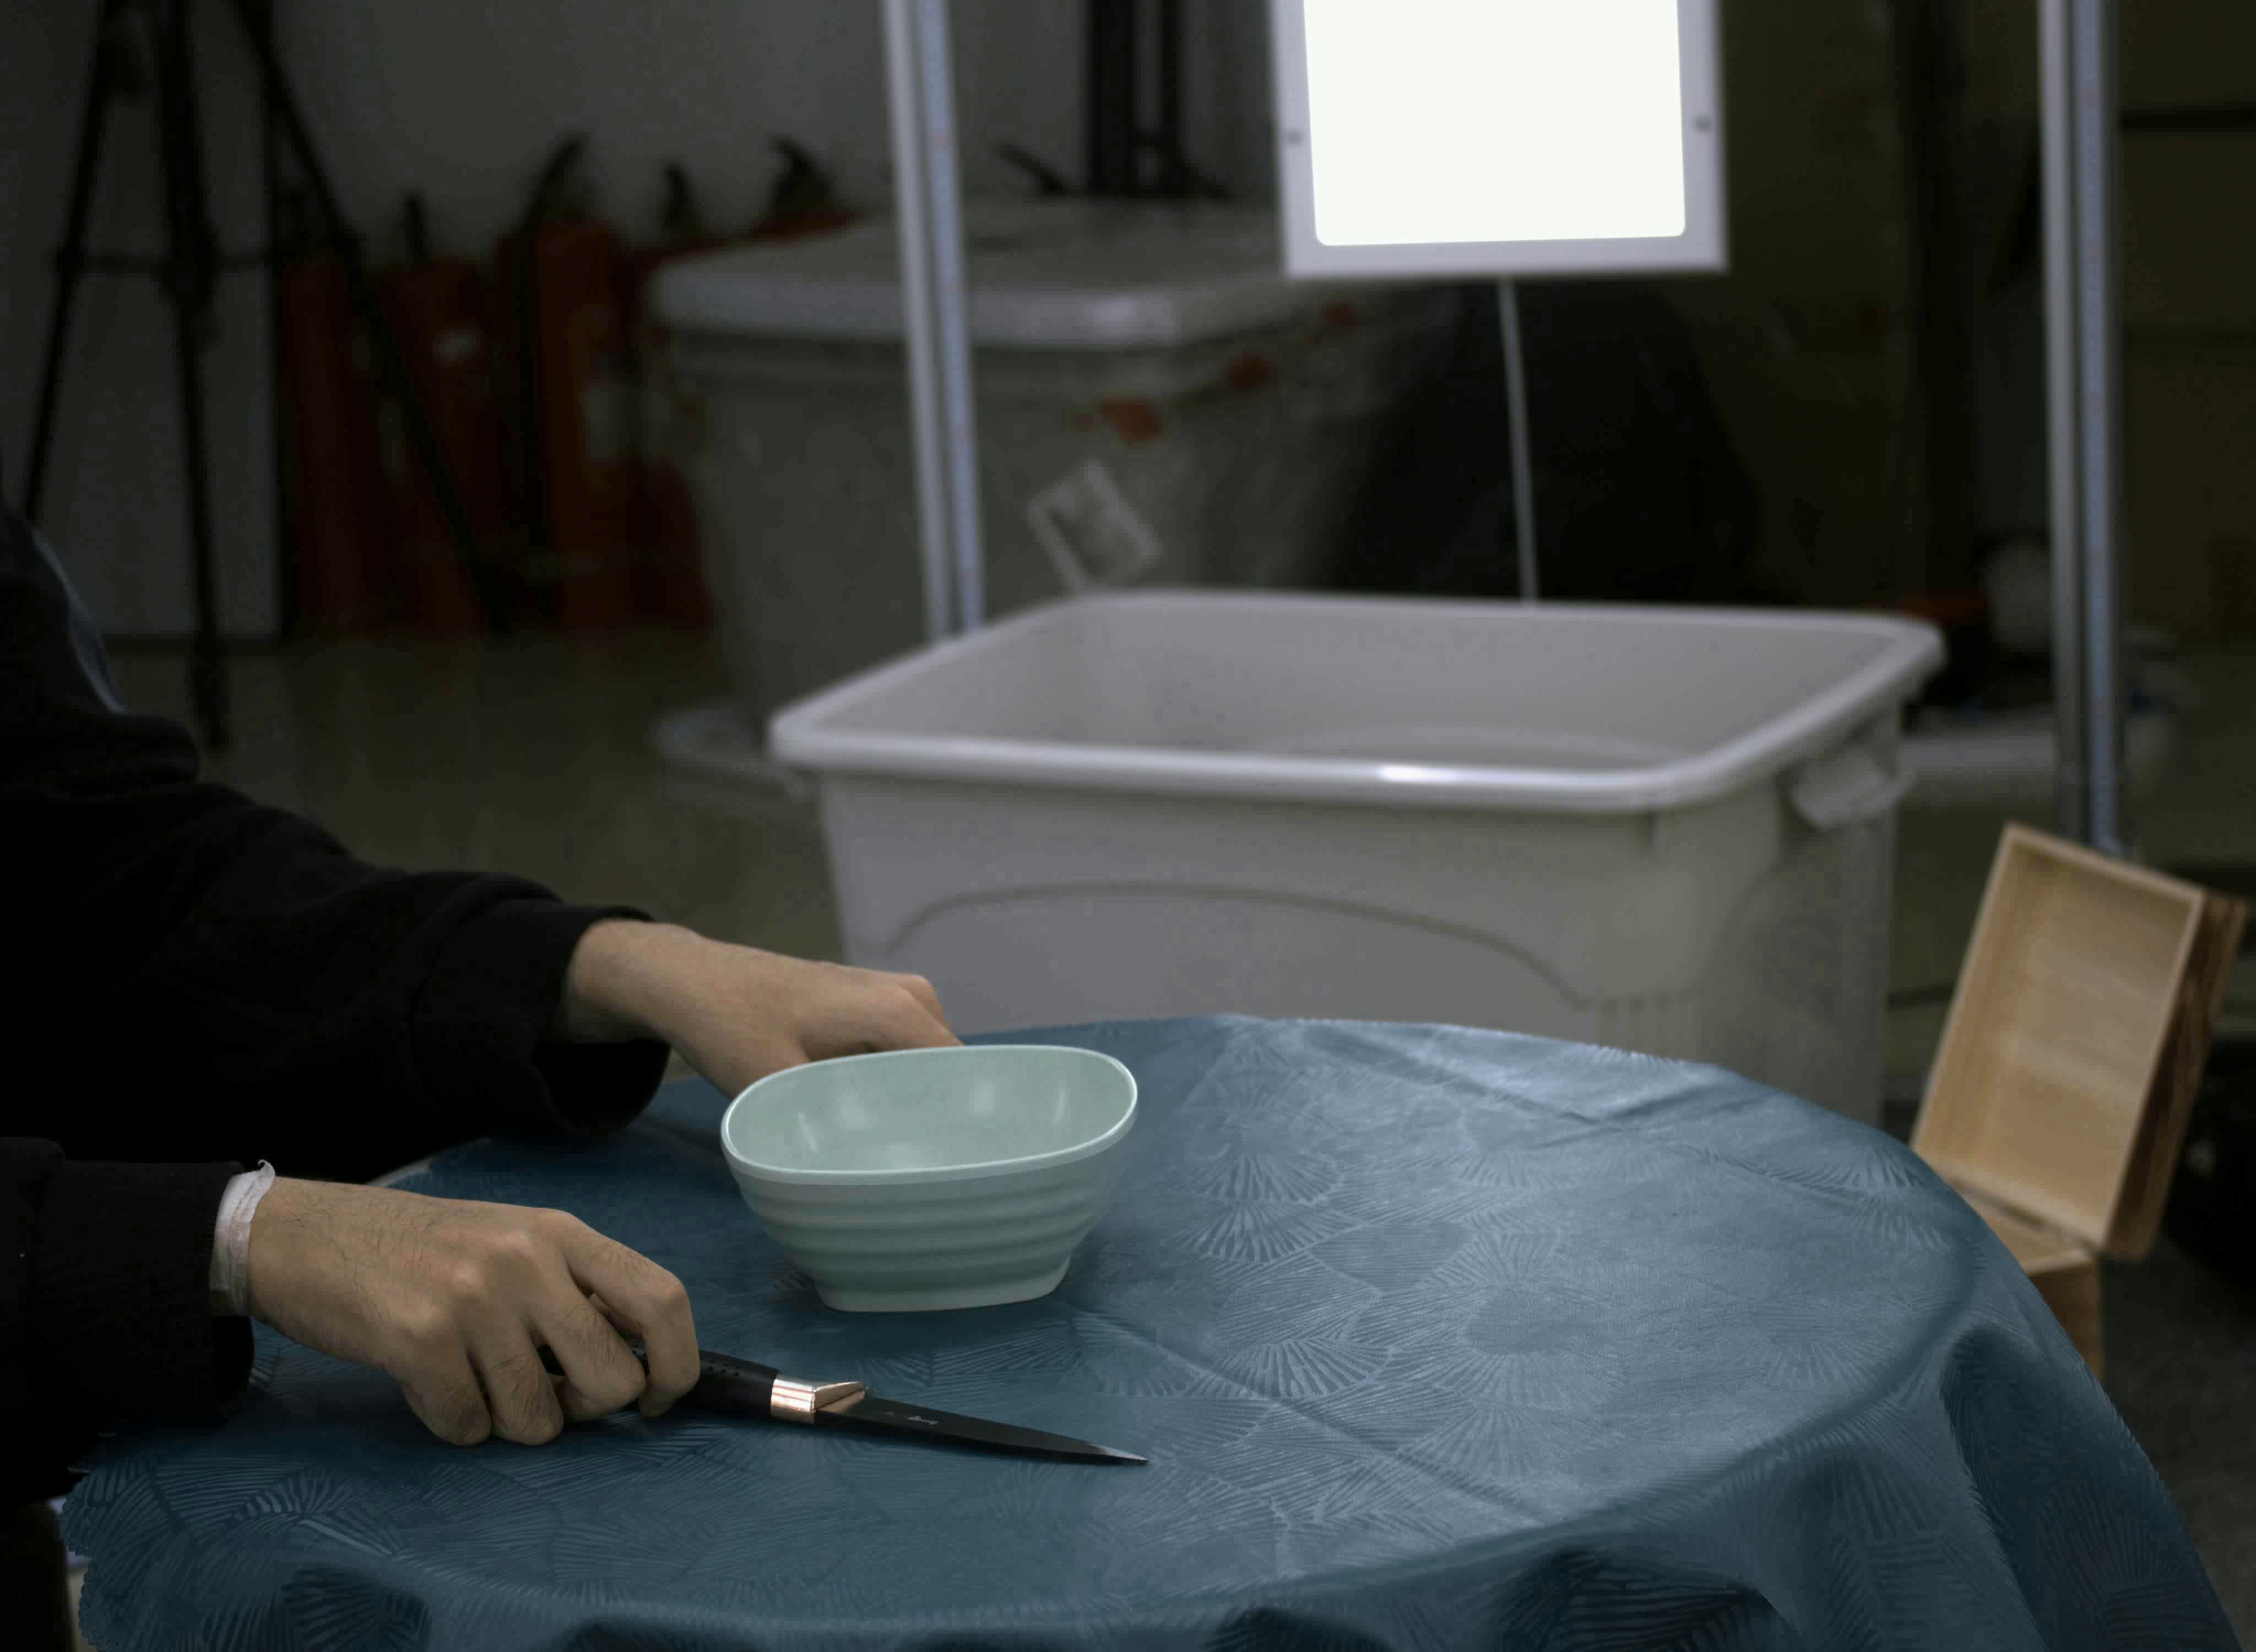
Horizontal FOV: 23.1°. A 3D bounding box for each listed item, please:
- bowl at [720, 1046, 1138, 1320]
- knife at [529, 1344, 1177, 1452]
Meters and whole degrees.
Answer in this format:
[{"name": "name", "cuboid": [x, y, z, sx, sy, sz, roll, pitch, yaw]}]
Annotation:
[{"name": "bowl", "cuboid": [-0.064, 0.122, 1.826, 0.151, 0.059, 0.151, -5, 15, 0]}, {"name": "knife", "cuboid": [-0.087, 0.178, 1.697, 0.229, 0.017, 0.025, 4, 7, 30]}]
